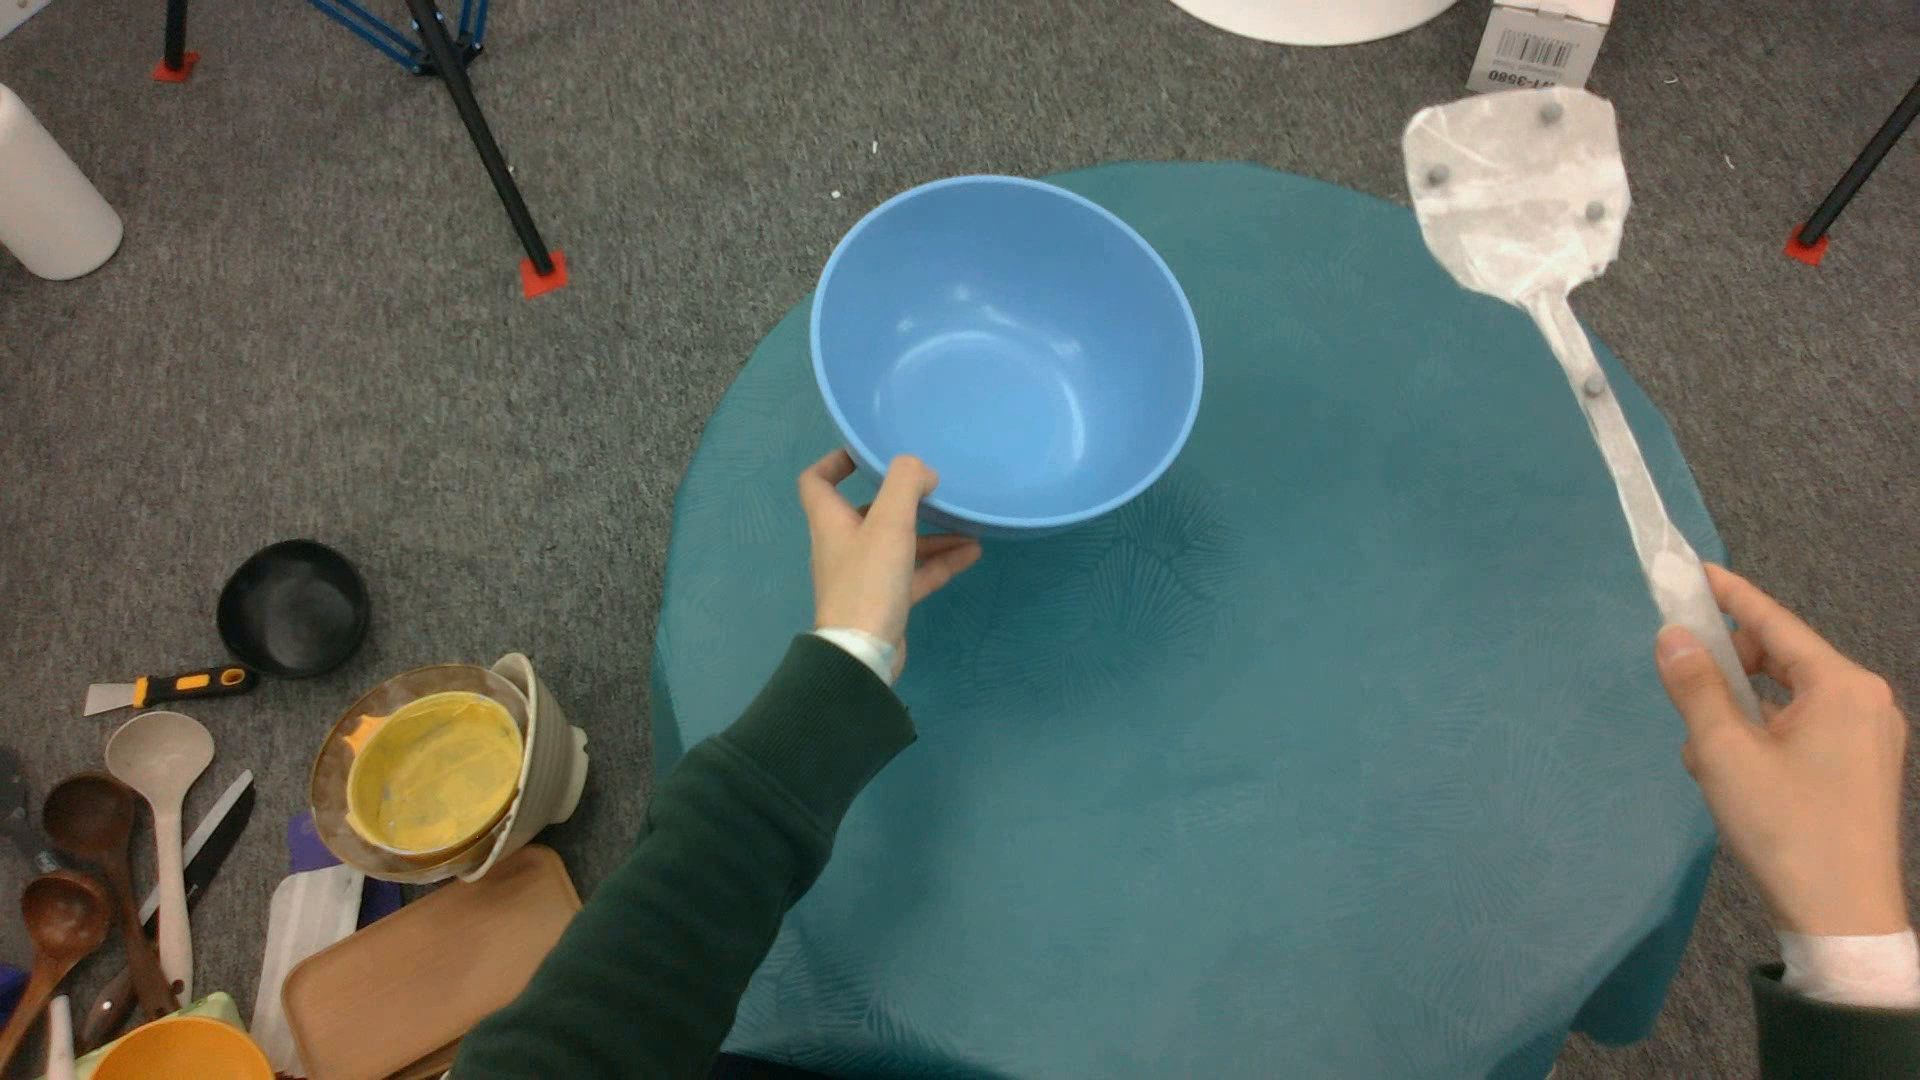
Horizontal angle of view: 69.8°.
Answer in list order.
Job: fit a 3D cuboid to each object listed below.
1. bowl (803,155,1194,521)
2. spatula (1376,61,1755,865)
[{"bbox_3d":[0.013,-0.090,0.712,0.196,0.095,0.197,5,66,-11],"label":"bowl"},{"bbox_3d":[0.257,-0.053,0.563,0.098,0.044,0.366,-8,60,2],"label":"spatula"}]
